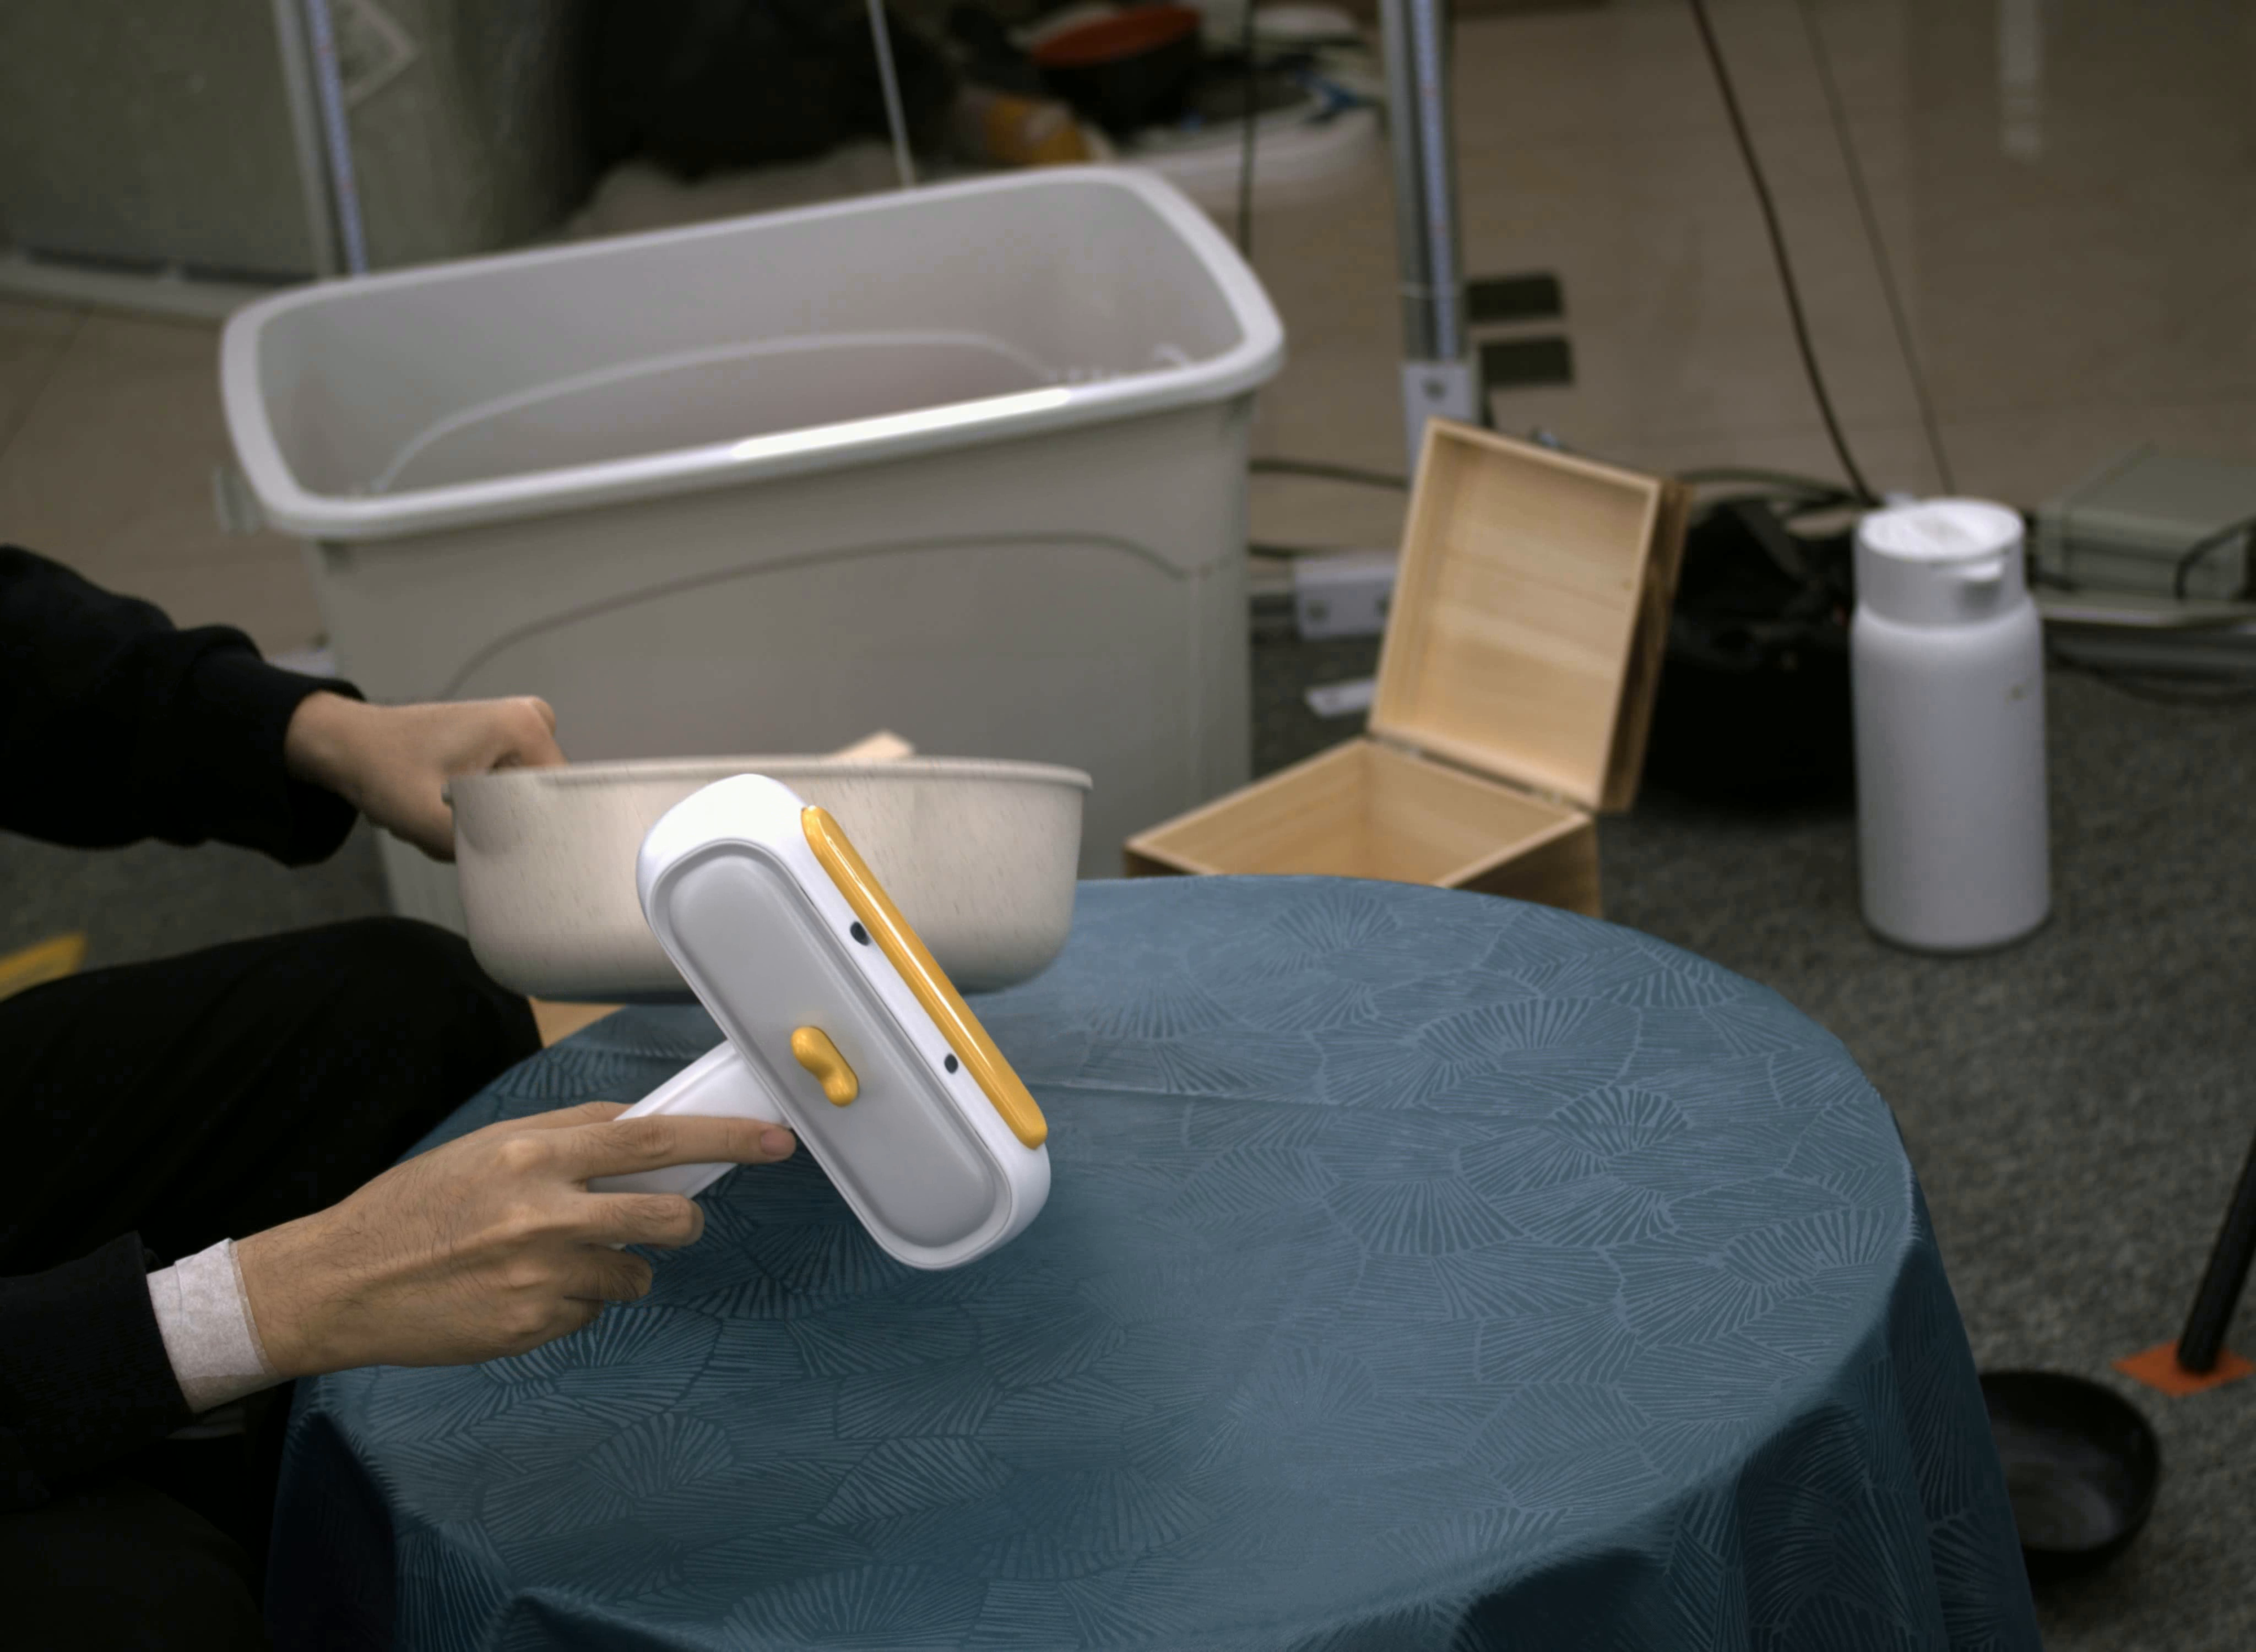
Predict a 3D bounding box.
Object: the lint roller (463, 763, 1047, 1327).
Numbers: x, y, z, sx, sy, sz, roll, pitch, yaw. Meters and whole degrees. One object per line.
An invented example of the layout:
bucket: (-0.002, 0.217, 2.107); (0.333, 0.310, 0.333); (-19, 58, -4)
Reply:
lint roller: (-0.148, 0.101, 1.950); (0.193, 0.195, 0.073); (-36, 20, 11)

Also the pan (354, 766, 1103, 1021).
pan: (-0.188, 0.025, 2.251); (0.263, 0.102, 0.435); (-2, -2, -37)
